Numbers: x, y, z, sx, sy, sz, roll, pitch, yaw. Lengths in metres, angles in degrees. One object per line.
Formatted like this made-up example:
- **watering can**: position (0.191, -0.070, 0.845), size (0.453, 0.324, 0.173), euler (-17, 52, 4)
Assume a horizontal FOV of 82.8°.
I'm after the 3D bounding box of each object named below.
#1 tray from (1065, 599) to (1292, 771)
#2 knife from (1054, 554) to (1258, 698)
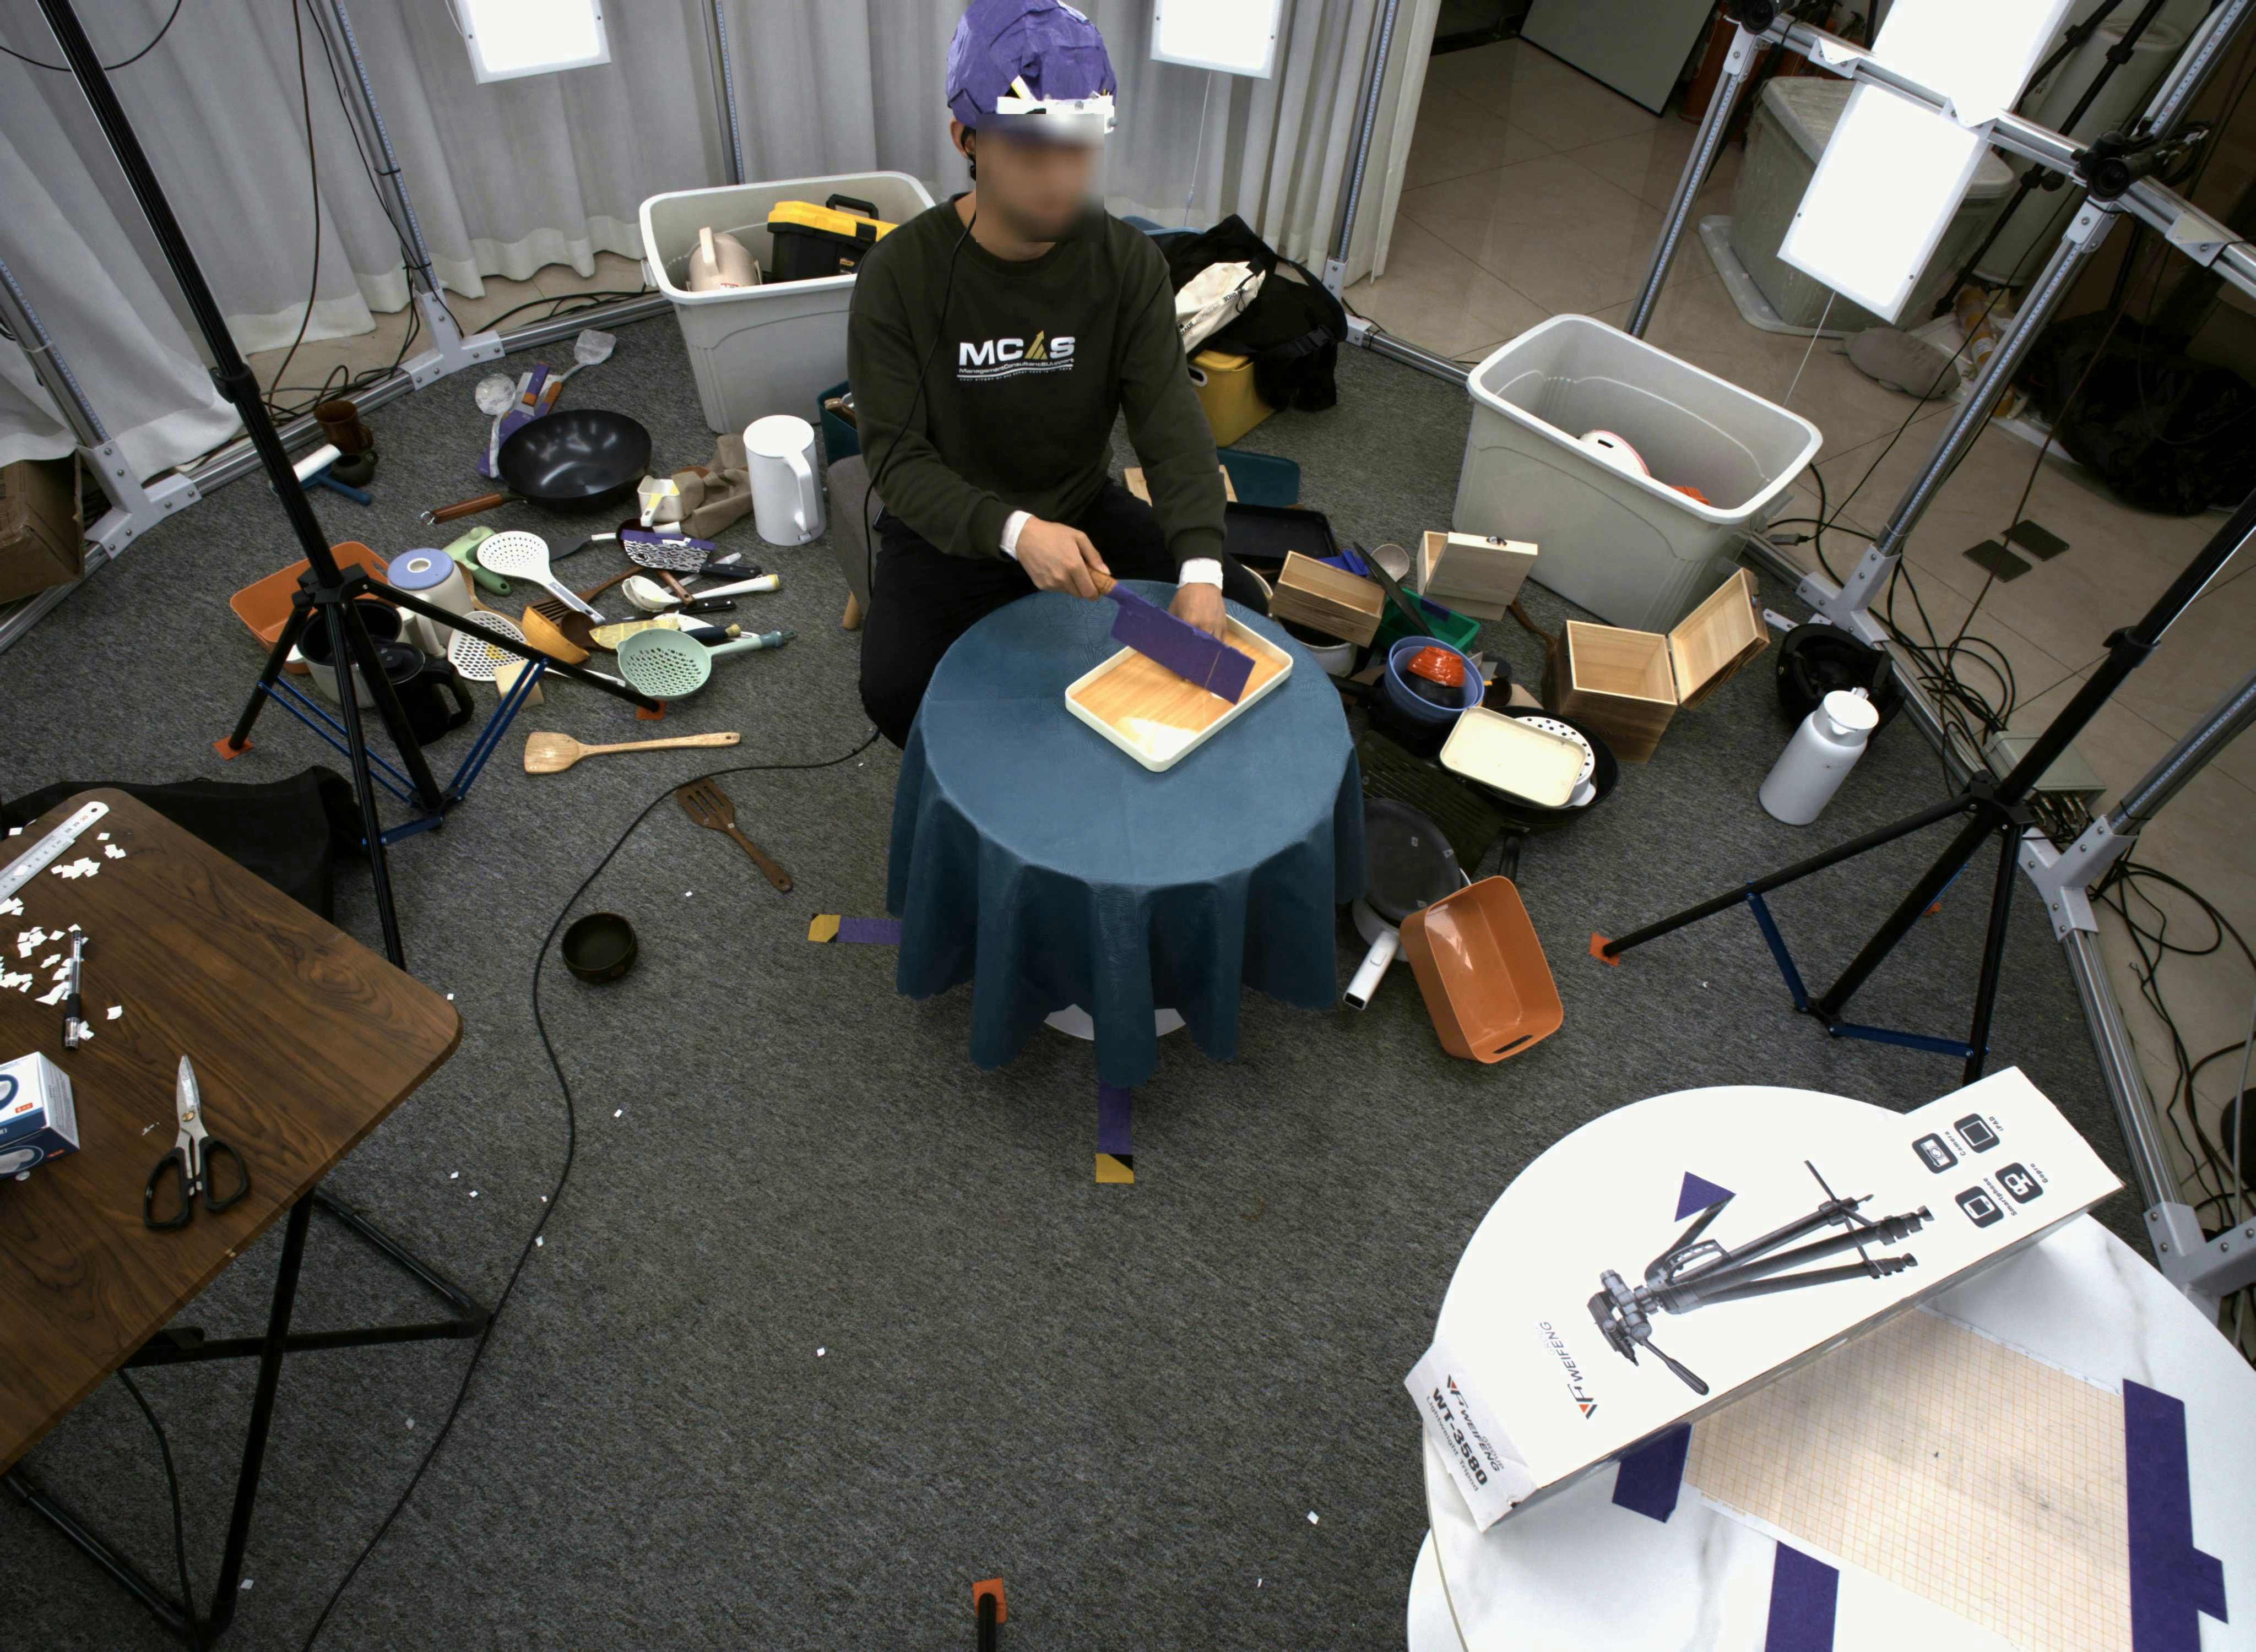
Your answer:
- **tray**: position (0.075, -0.208, 1.835), size (0.194, 0.027, 0.303), euler (37, 56, 25)
- **knife**: position (0.030, -0.274, 1.803), size (0.316, 0.101, 0.033), euler (30, 47, 9)
